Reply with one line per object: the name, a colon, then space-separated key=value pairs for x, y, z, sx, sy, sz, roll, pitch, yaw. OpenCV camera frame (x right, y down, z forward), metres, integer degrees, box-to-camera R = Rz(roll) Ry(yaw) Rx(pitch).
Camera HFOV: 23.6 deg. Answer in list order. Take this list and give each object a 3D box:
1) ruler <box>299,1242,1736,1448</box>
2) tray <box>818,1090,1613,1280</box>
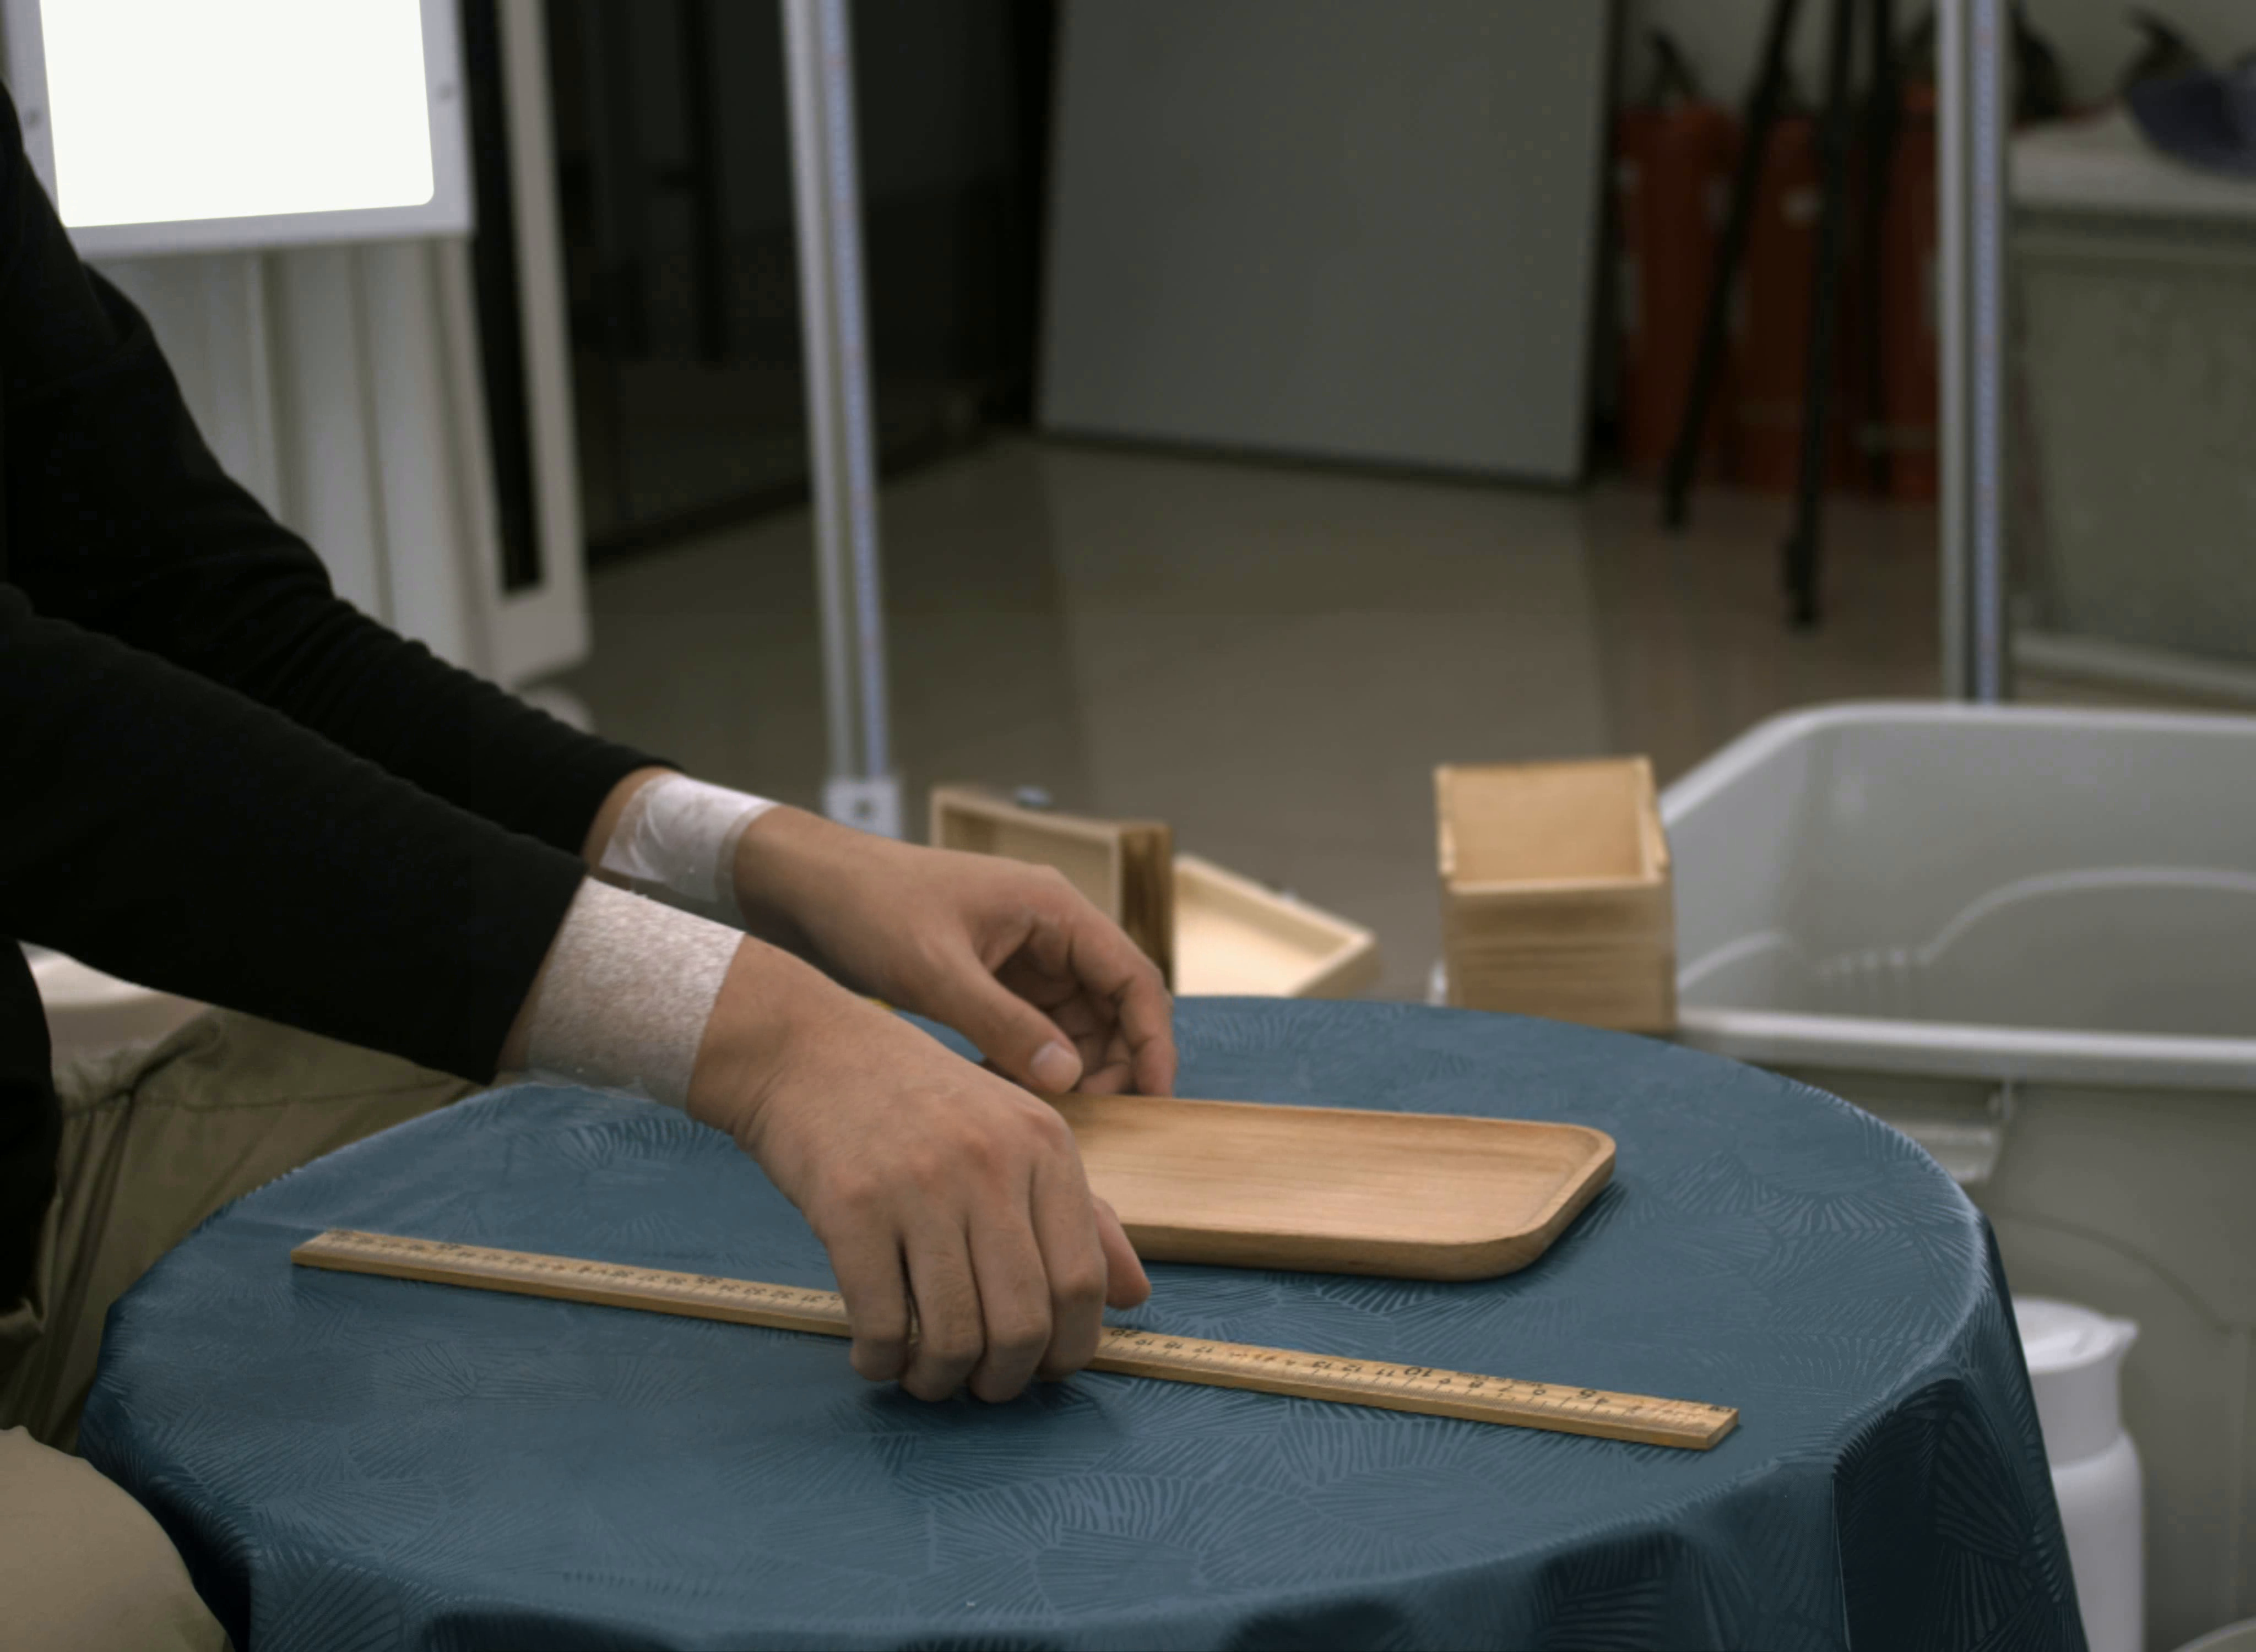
ruler: x=-0.047 y=0.154 z=1.639 sx=0.502 sy=0.006 sz=0.026 roll=4 pitch=13 yaw=31
tray: x=0.028 y=0.116 z=1.750 sx=0.251 sy=0.023 sz=0.129 roll=1 pitch=12 yaw=25
